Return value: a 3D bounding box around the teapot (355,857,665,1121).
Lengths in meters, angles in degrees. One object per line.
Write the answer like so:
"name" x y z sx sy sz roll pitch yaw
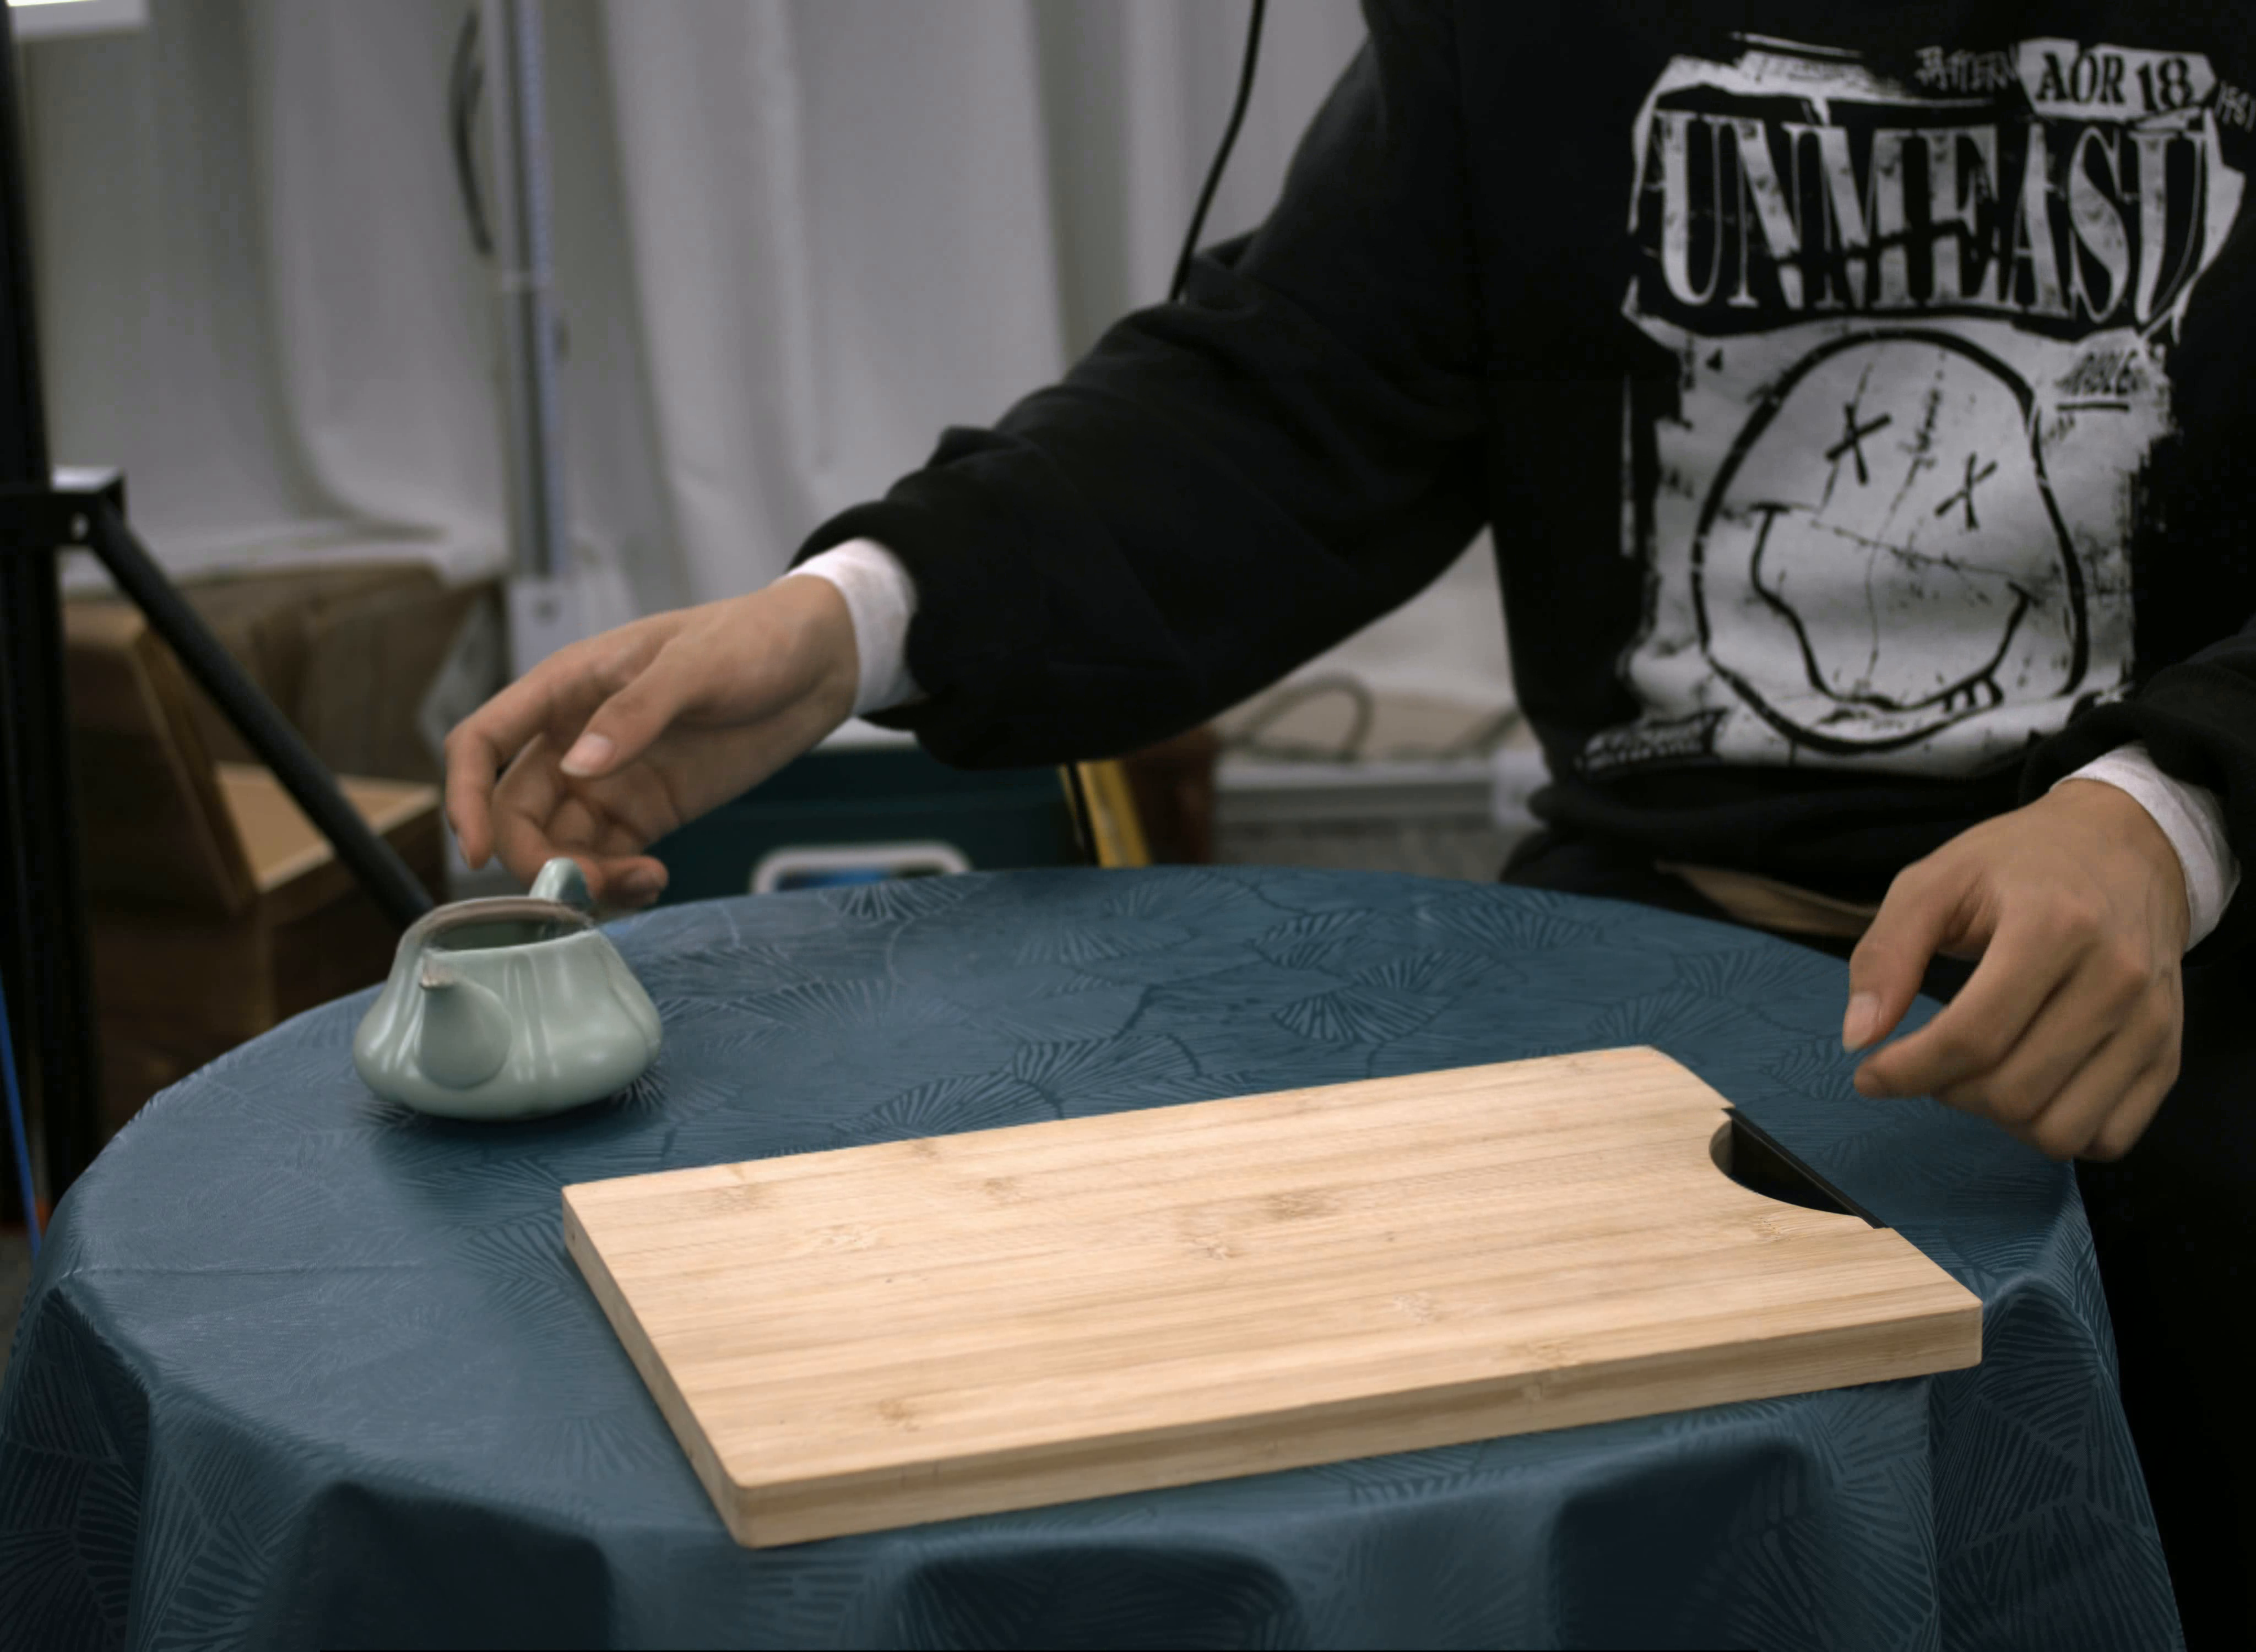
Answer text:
"teapot" -0.192 0.054 1.667 0.097 0.061 0.136 0 16 12

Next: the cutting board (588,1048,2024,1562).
"cutting board" 0.038 0.124 1.462 0.343 0.023 0.254 -7 17 -15
